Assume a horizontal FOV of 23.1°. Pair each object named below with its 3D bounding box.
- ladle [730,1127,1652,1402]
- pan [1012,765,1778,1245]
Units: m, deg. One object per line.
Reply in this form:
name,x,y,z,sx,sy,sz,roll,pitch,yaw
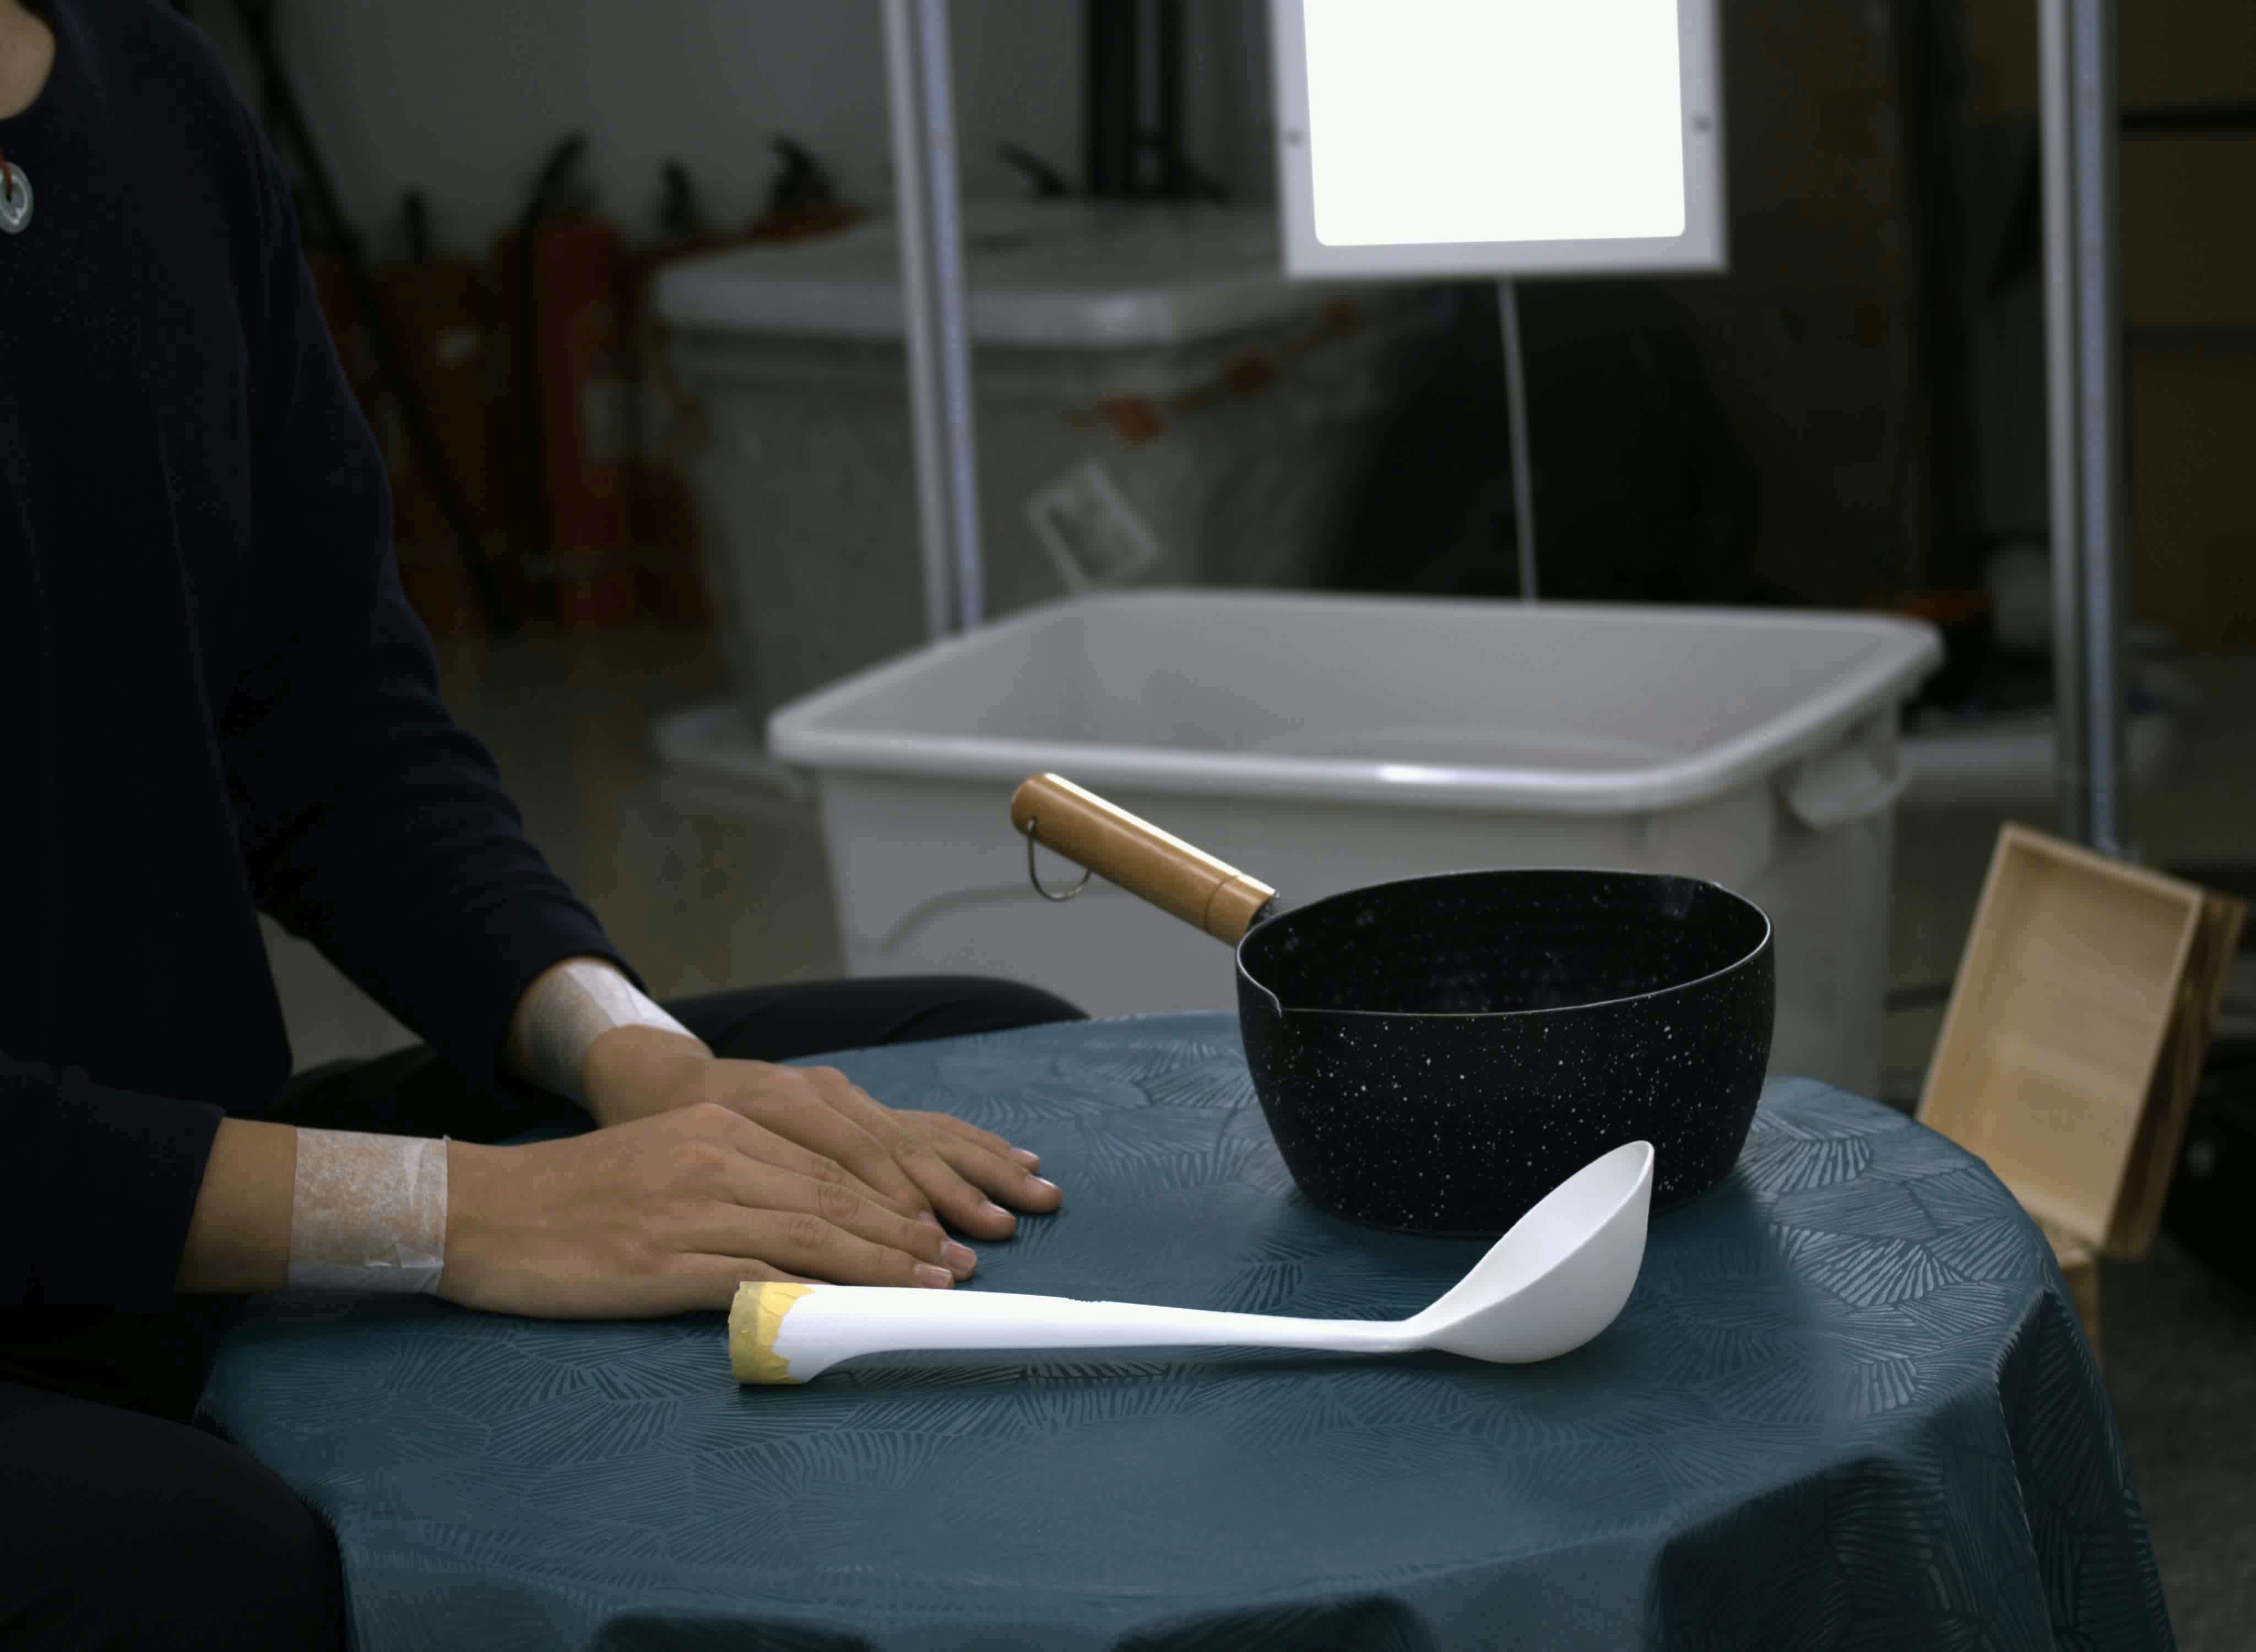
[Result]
ladle,0.019,0.140,1.702,0.295,0.070,0.089,-3,20,11
pan,0.077,0.056,1.929,0.202,0.108,0.350,-17,20,-38
